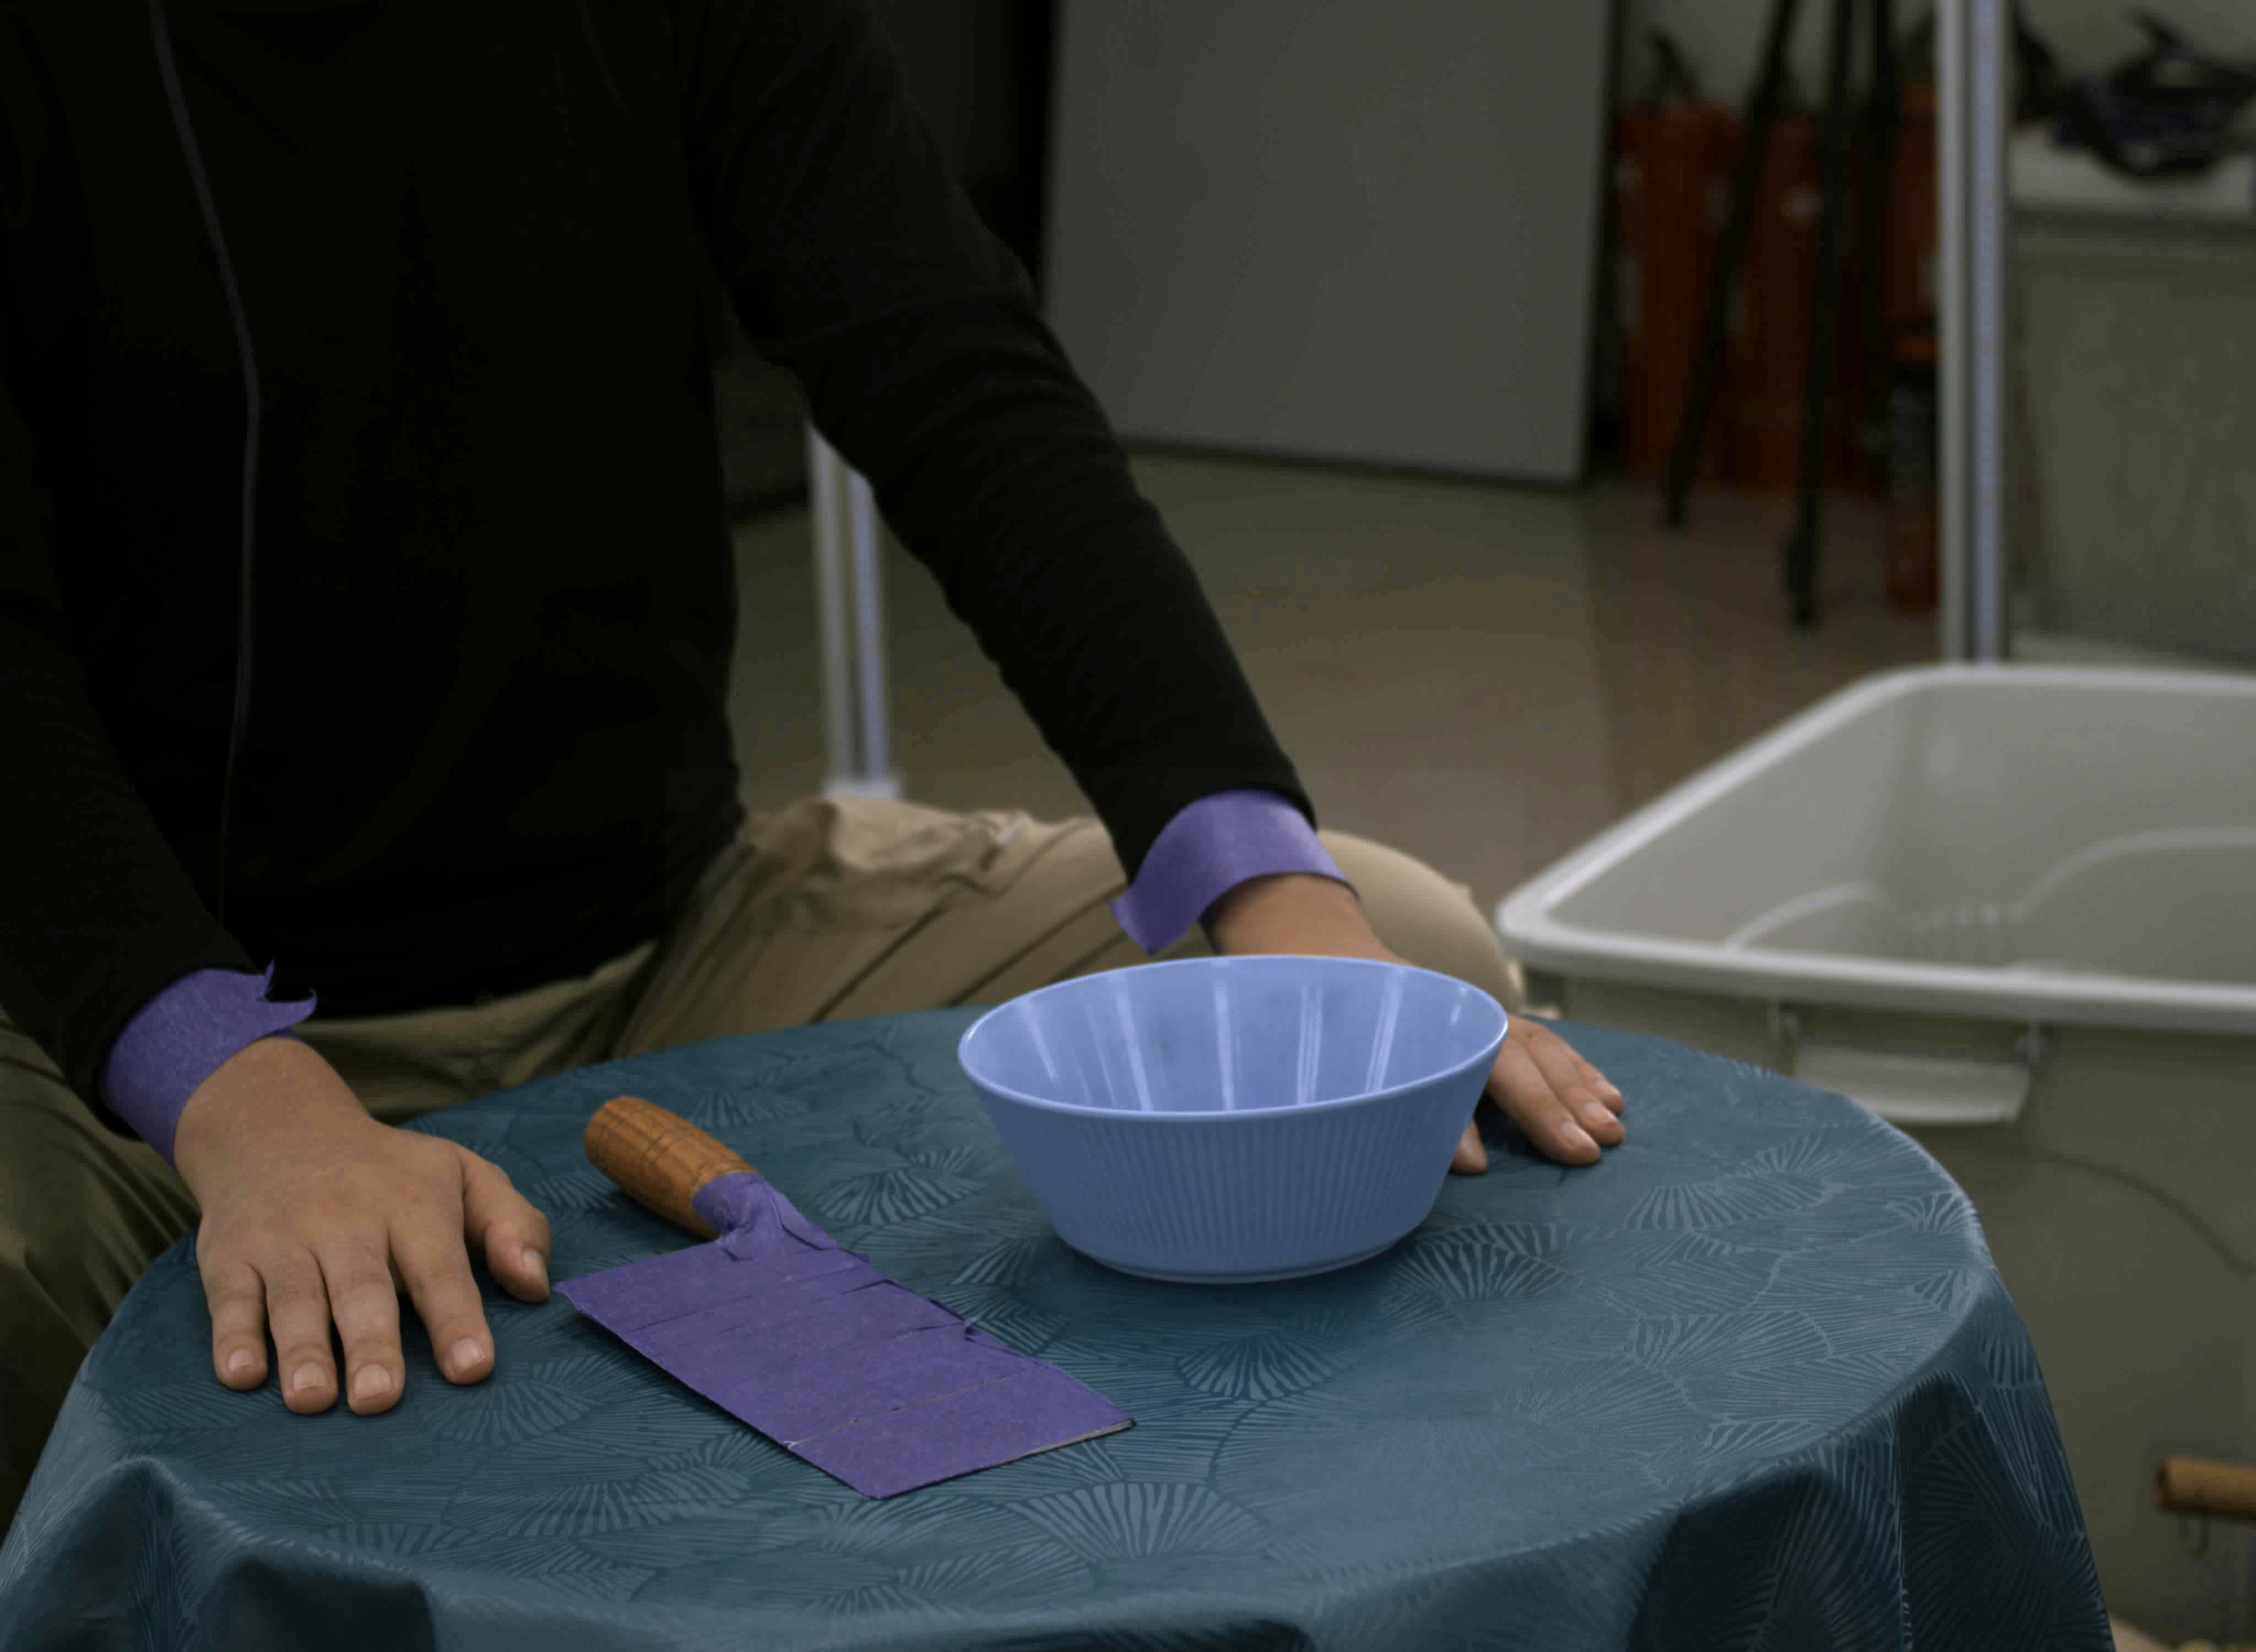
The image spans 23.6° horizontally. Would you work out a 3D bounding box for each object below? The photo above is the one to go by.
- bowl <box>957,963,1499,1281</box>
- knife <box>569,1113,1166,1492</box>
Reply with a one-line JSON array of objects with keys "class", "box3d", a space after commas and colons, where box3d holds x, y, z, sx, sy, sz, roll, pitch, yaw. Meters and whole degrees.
[{"class": "bowl", "box3d": [0.033, 0.096, 1.717, 0.174, 0.071, 0.176, -4, 12, 0]}, {"class": "knife", "box3d": [-0.113, 0.143, 1.665, 0.101, 0.032, 0.318, -12, 16, -30]}]
